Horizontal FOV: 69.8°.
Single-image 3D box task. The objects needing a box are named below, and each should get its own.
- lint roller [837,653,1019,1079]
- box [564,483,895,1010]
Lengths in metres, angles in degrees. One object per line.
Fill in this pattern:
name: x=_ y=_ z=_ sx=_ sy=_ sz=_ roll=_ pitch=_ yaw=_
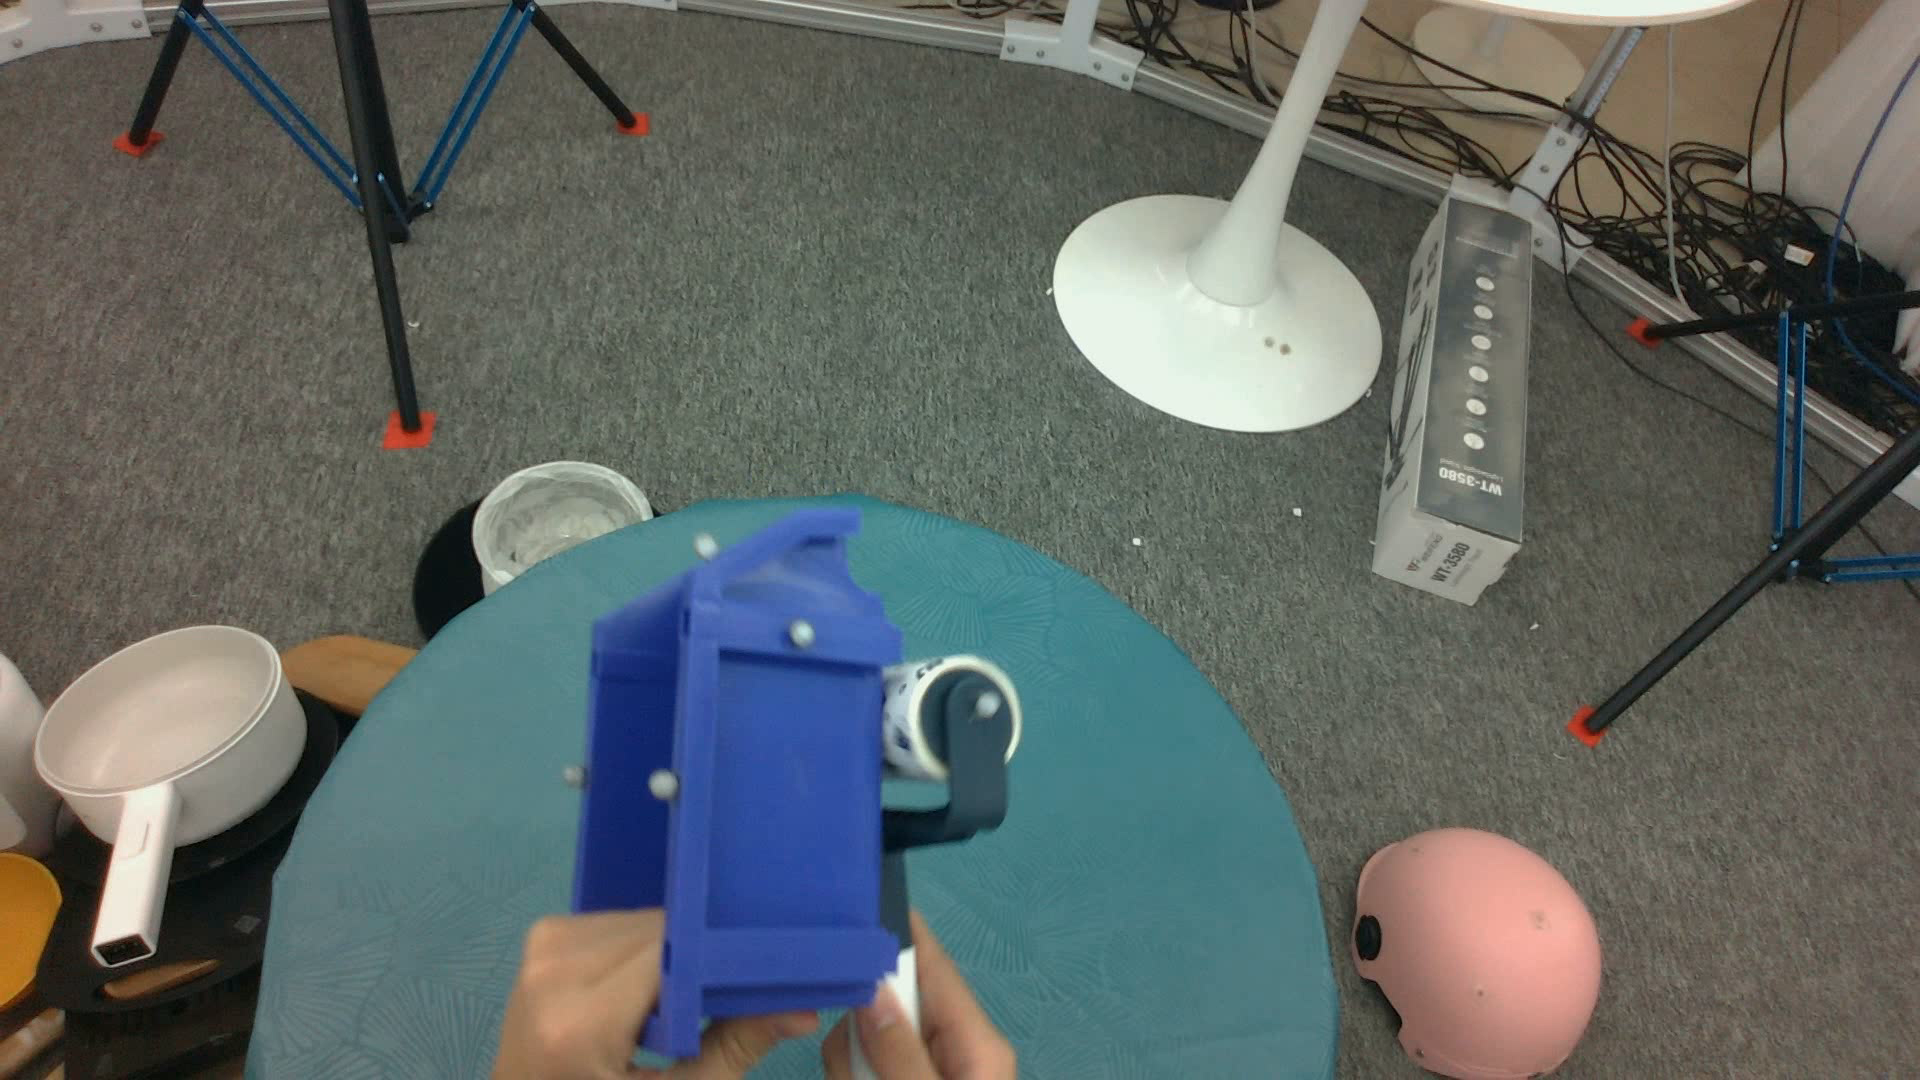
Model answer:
lint roller: x=-0.033 y=0.173 z=0.556 sx=0.050 sy=0.175 sz=0.247 roll=-1 pitch=84 yaw=-33
box: x=-0.090 y=0.075 z=0.521 sx=0.082 sy=0.124 sz=0.180 roll=7 pitch=75 yaw=-31
